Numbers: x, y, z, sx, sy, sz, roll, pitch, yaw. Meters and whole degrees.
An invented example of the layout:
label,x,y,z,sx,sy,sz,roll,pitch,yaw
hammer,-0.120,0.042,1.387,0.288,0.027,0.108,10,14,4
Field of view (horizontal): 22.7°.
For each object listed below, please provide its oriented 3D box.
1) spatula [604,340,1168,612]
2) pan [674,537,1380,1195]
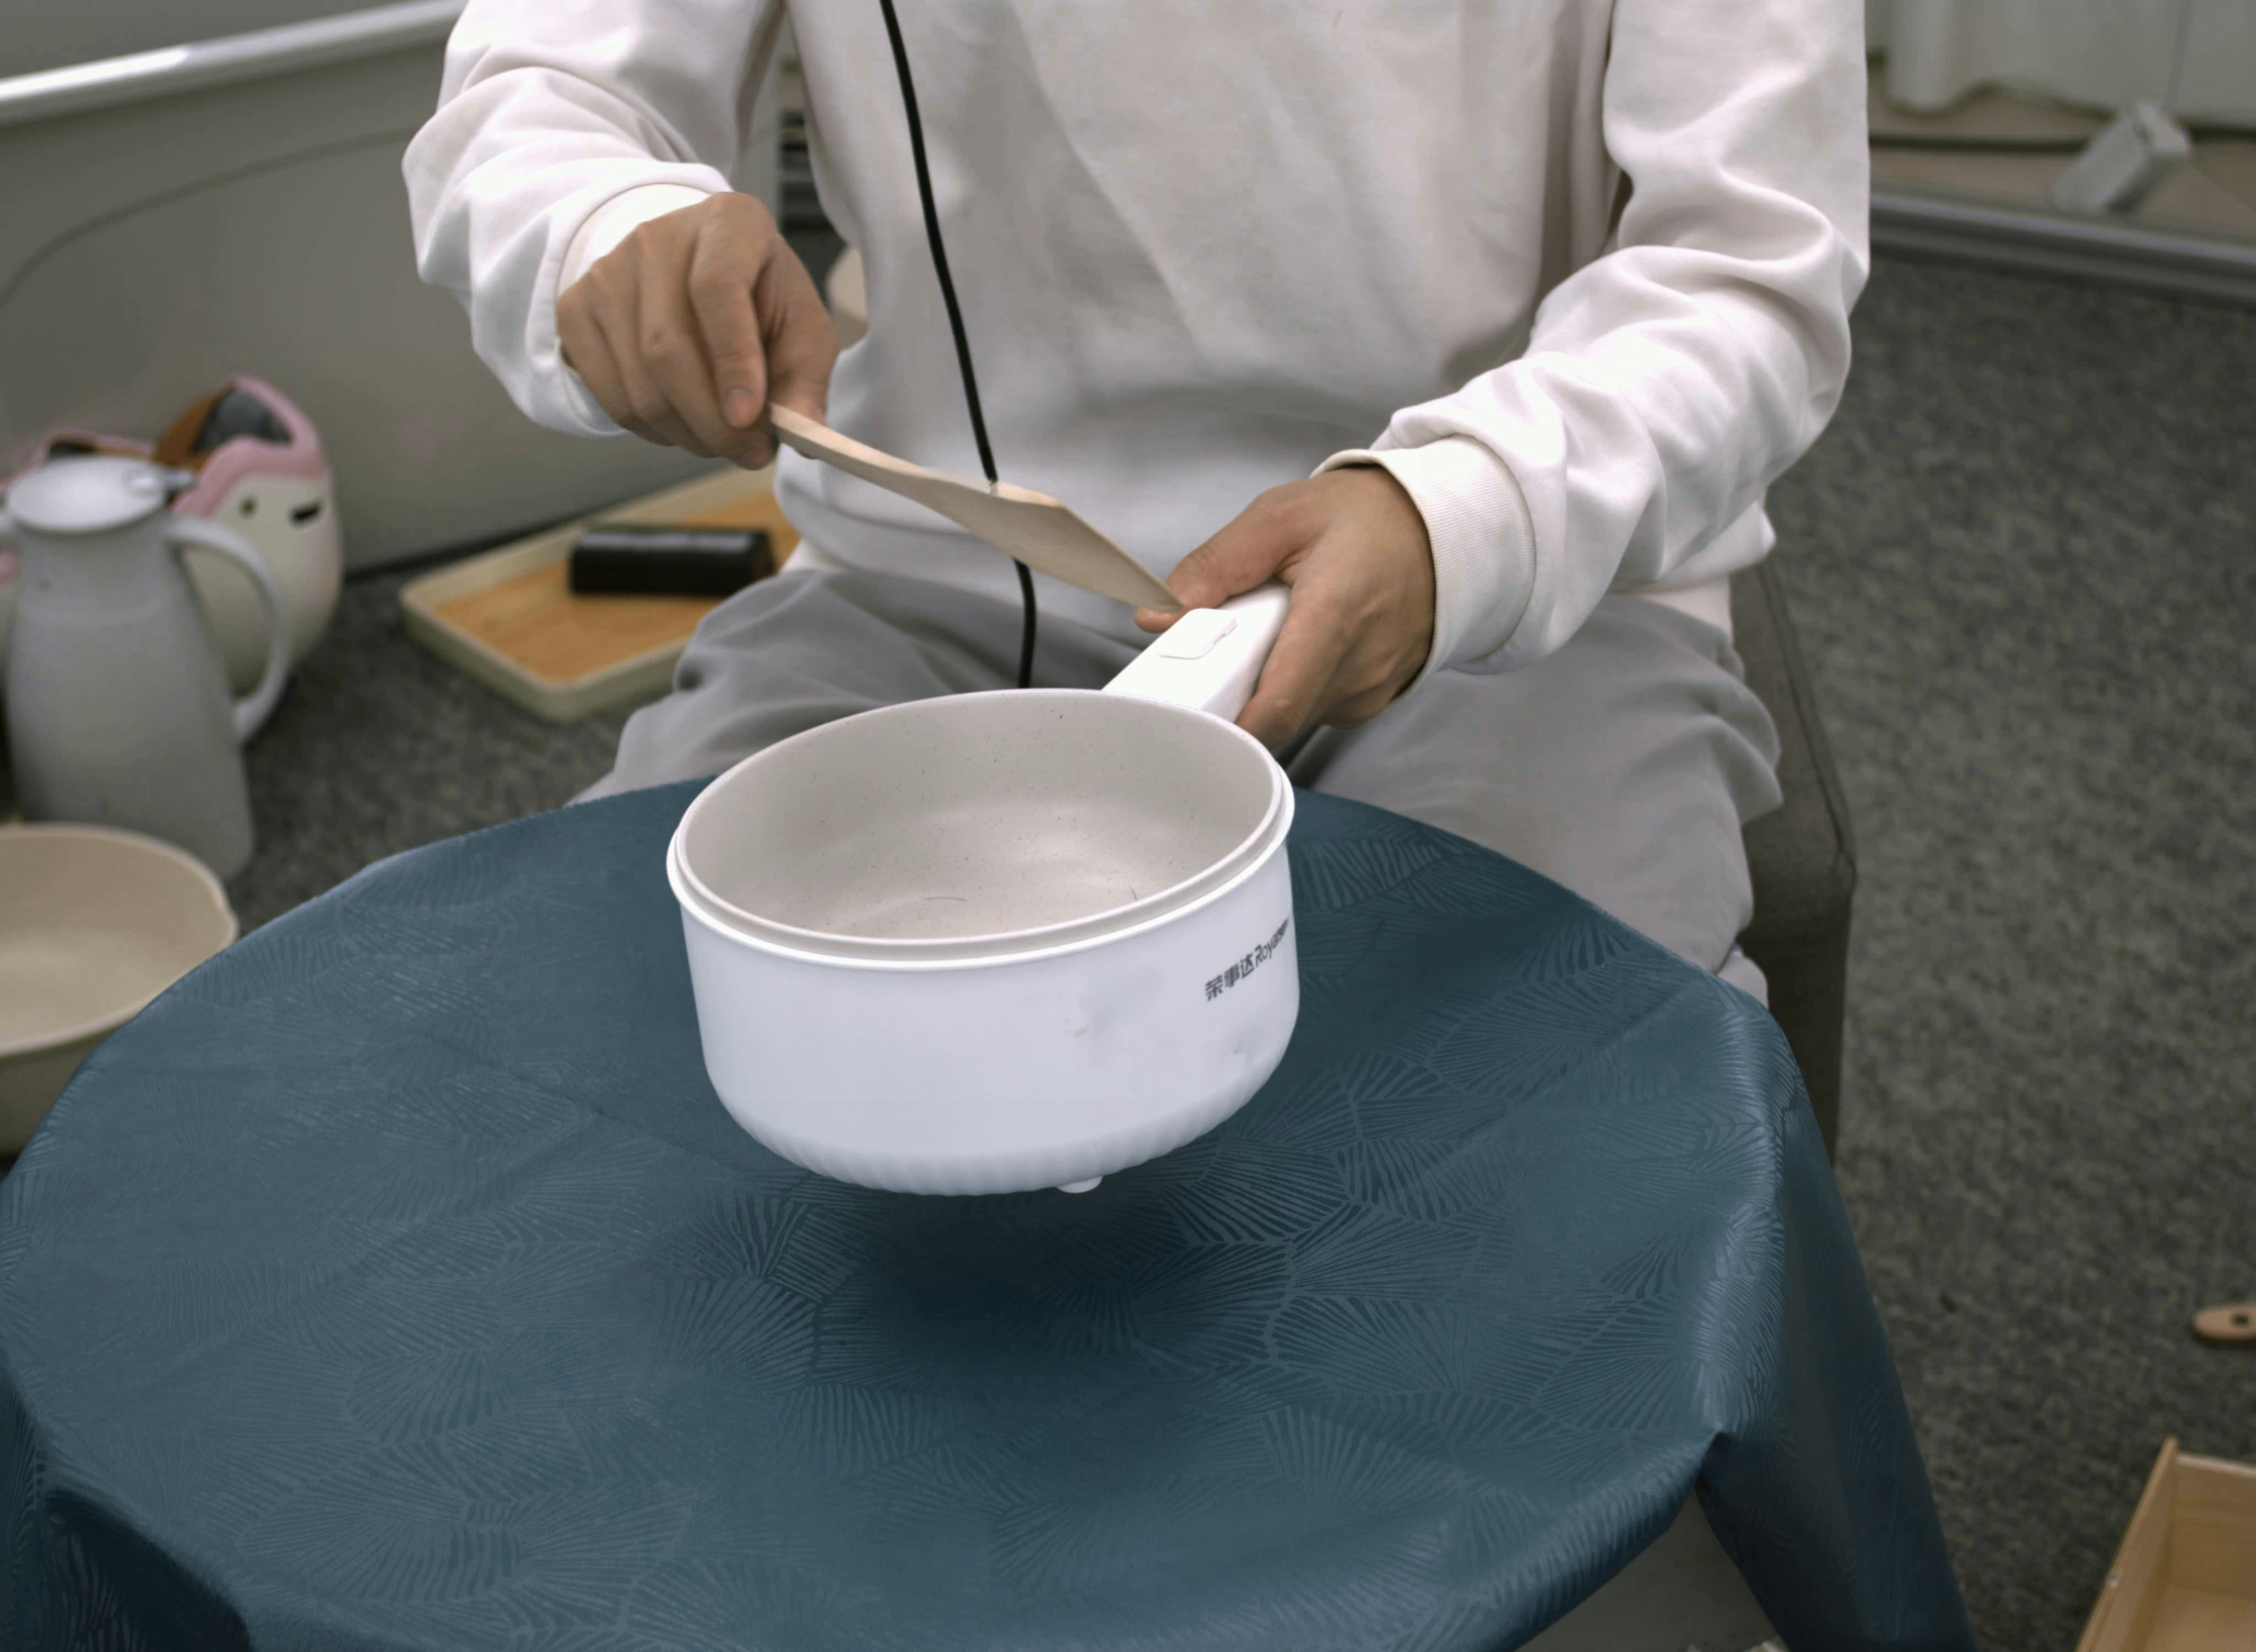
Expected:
label,x,y,z,sx,sy,sz,roll,pitch,yaw
spatula,-0.093,-0.123,1.862,0.293,0.072,0.011,26,81,50
pan,-0.007,0.010,1.871,0.199,0.101,0.360,6,25,26
